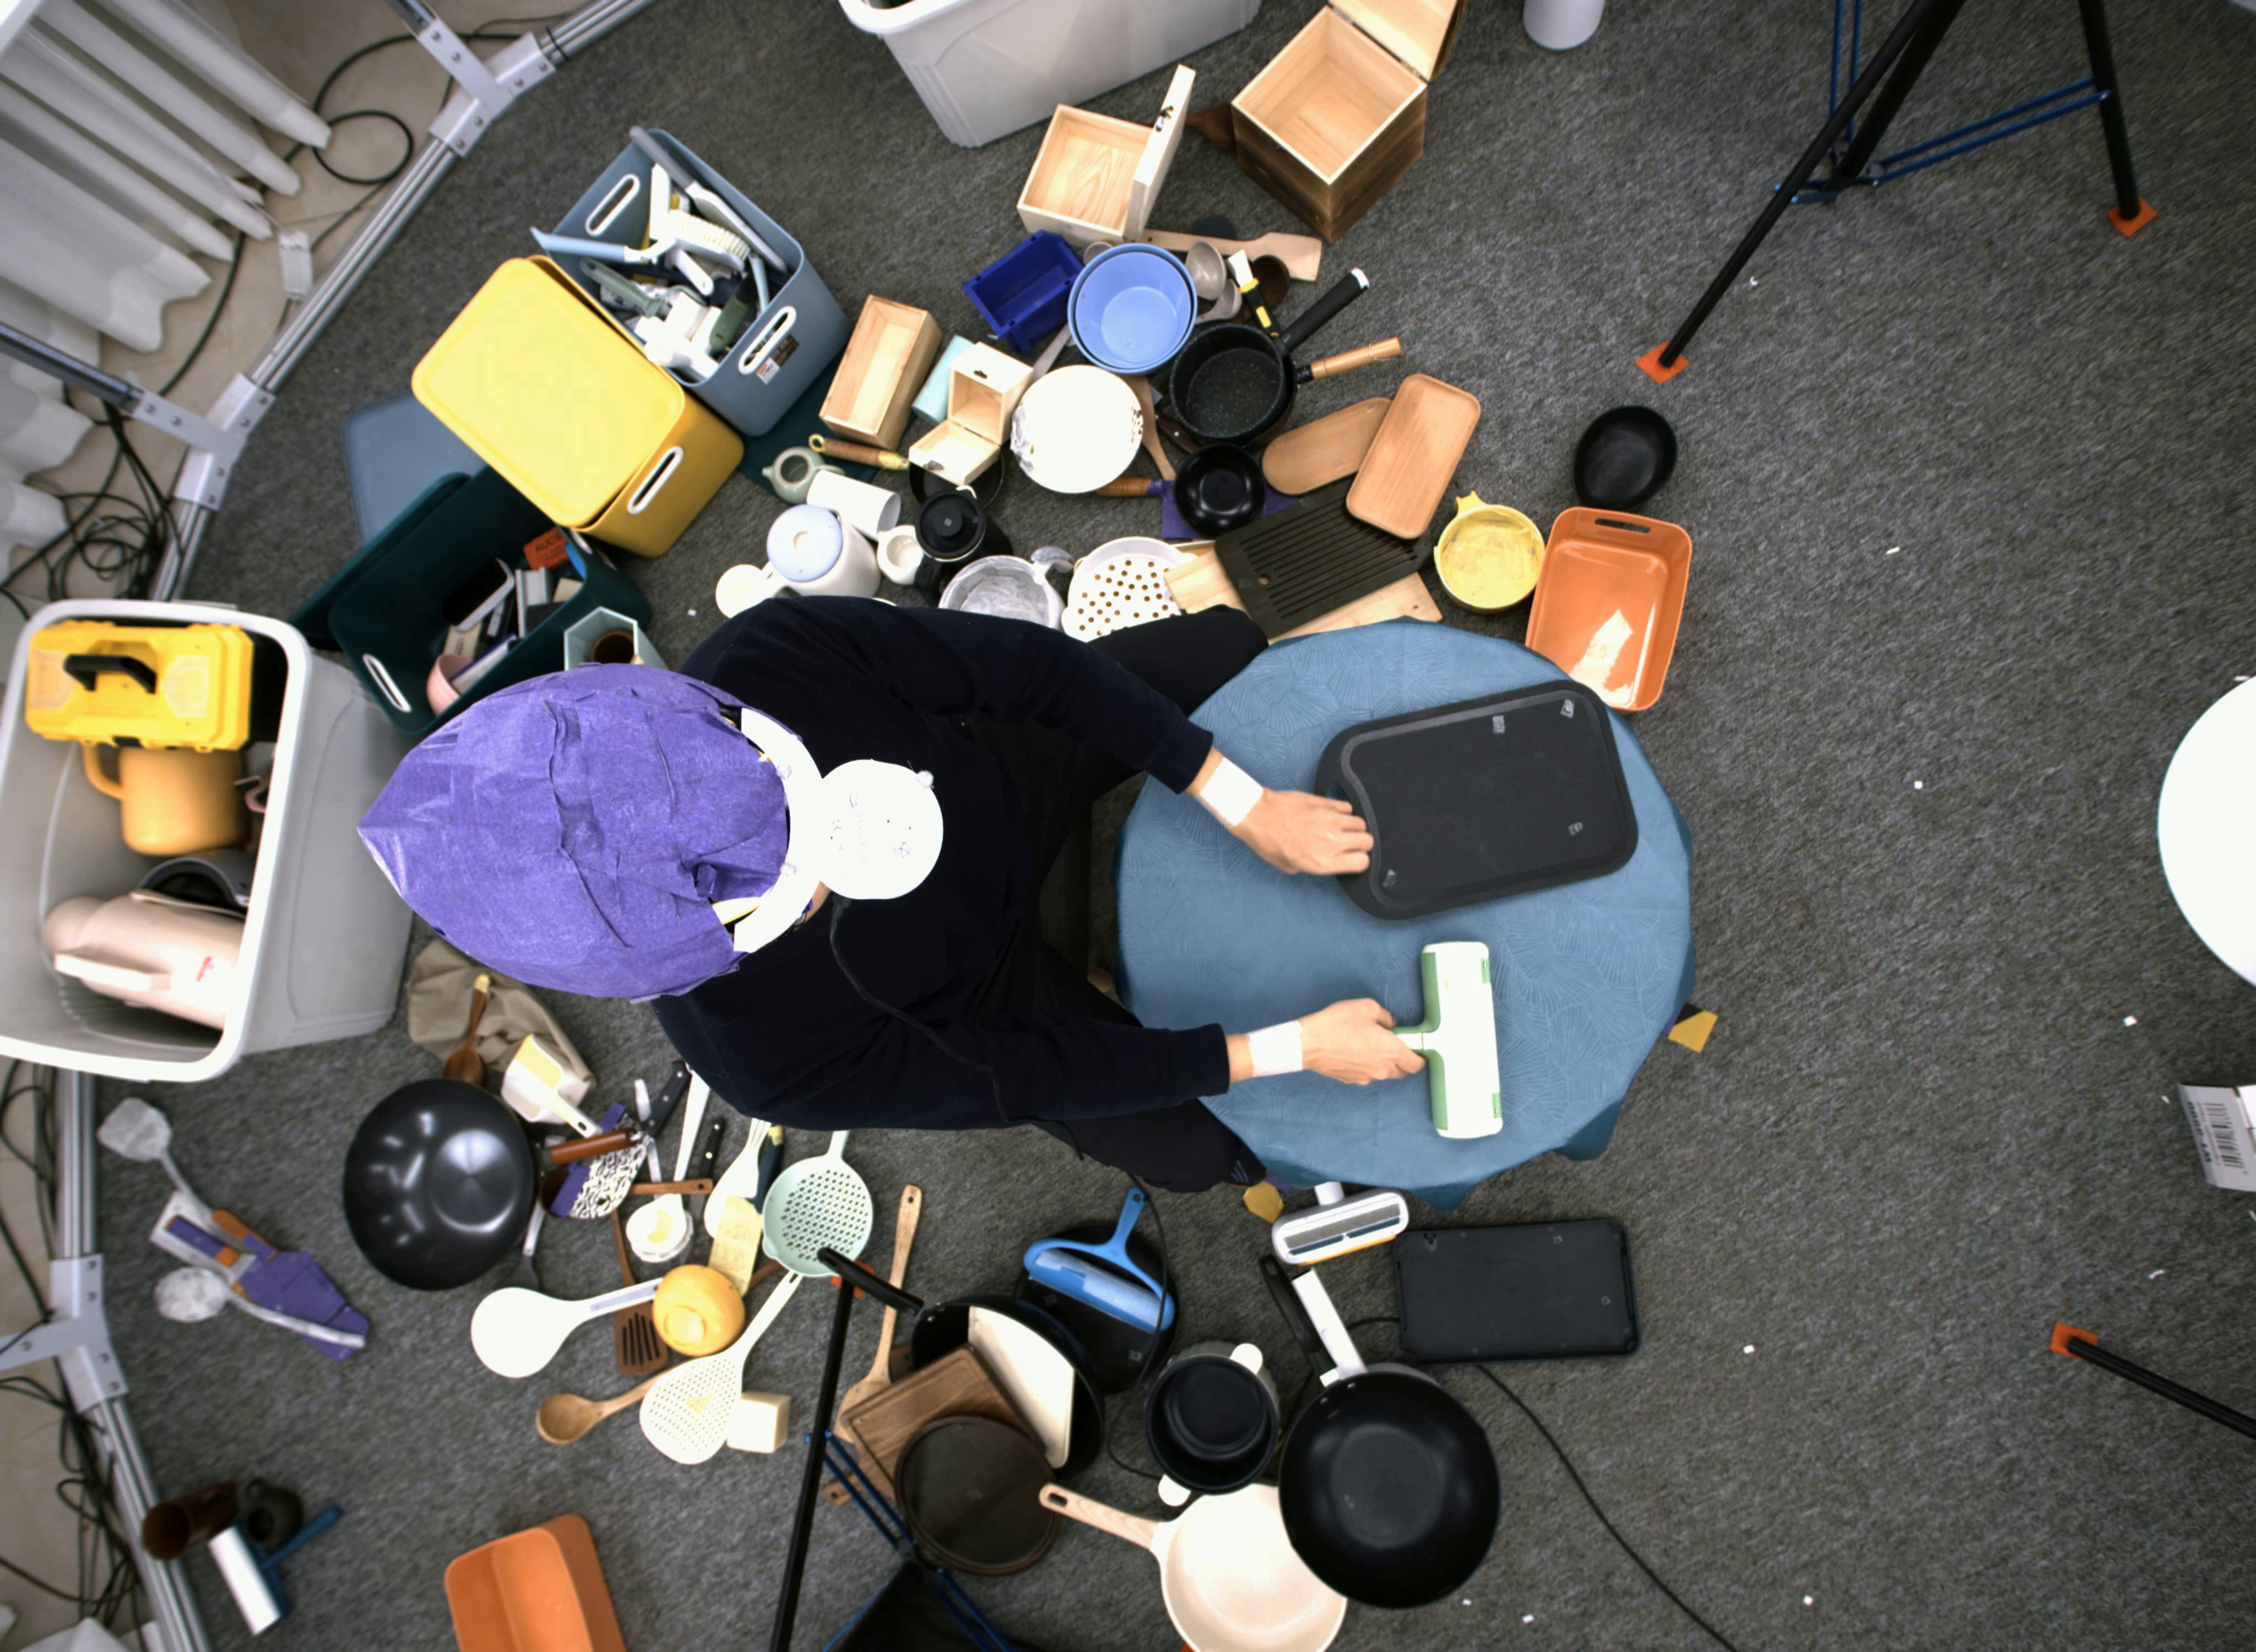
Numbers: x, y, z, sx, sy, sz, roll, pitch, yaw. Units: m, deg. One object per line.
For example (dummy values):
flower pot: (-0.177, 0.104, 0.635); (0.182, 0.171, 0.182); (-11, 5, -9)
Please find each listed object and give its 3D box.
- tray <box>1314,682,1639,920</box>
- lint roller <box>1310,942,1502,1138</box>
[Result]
tray: (0.358, -0.026, 1.430); (0.326, 0.010, 0.210); (-13, 84, 4)
lint roller: (0.281, 0.218, 1.398); (0.183, 0.082, 0.197); (-4, 86, -5)
